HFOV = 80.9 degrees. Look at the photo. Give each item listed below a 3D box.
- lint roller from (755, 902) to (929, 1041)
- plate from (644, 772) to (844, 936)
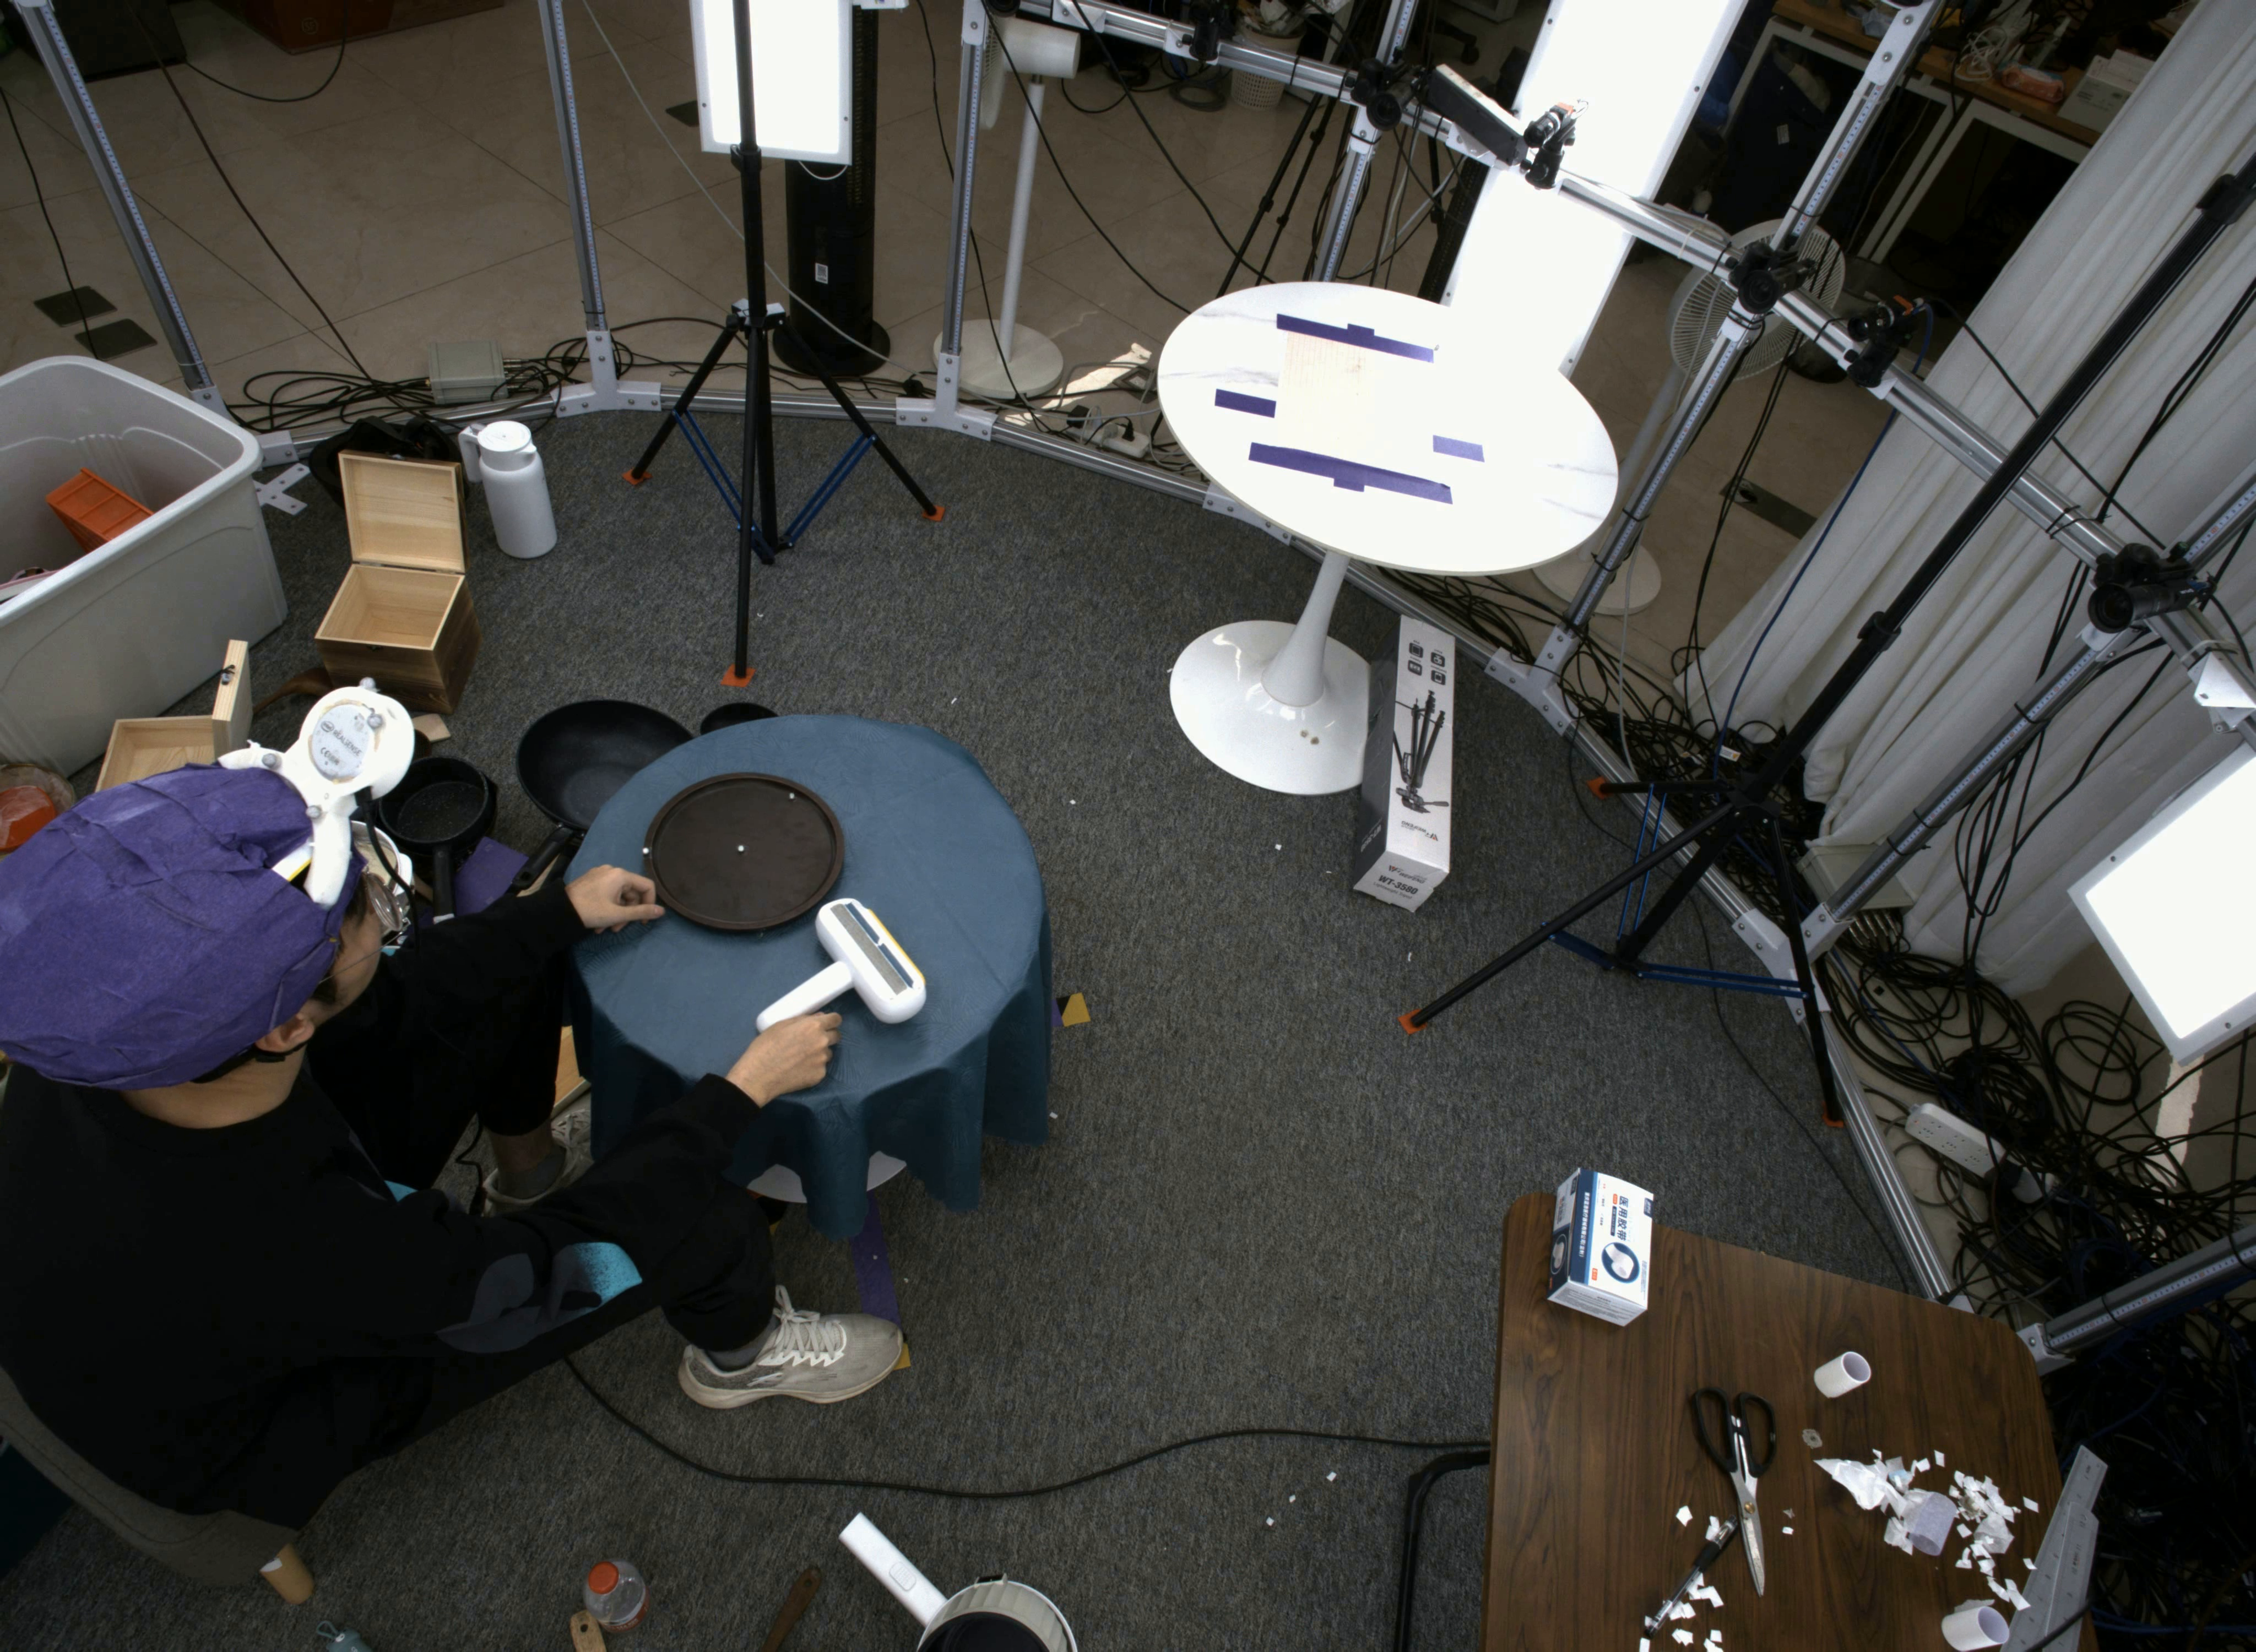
[{"bbox_3d":[-0.360,0.192,1.562,0.193,0.076,0.187,-23,57,-26],"label":"lint roller"},{"bbox_3d":[-0.495,0.033,1.672,0.254,0.029,0.250,7,54,-8],"label":"plate"}]
